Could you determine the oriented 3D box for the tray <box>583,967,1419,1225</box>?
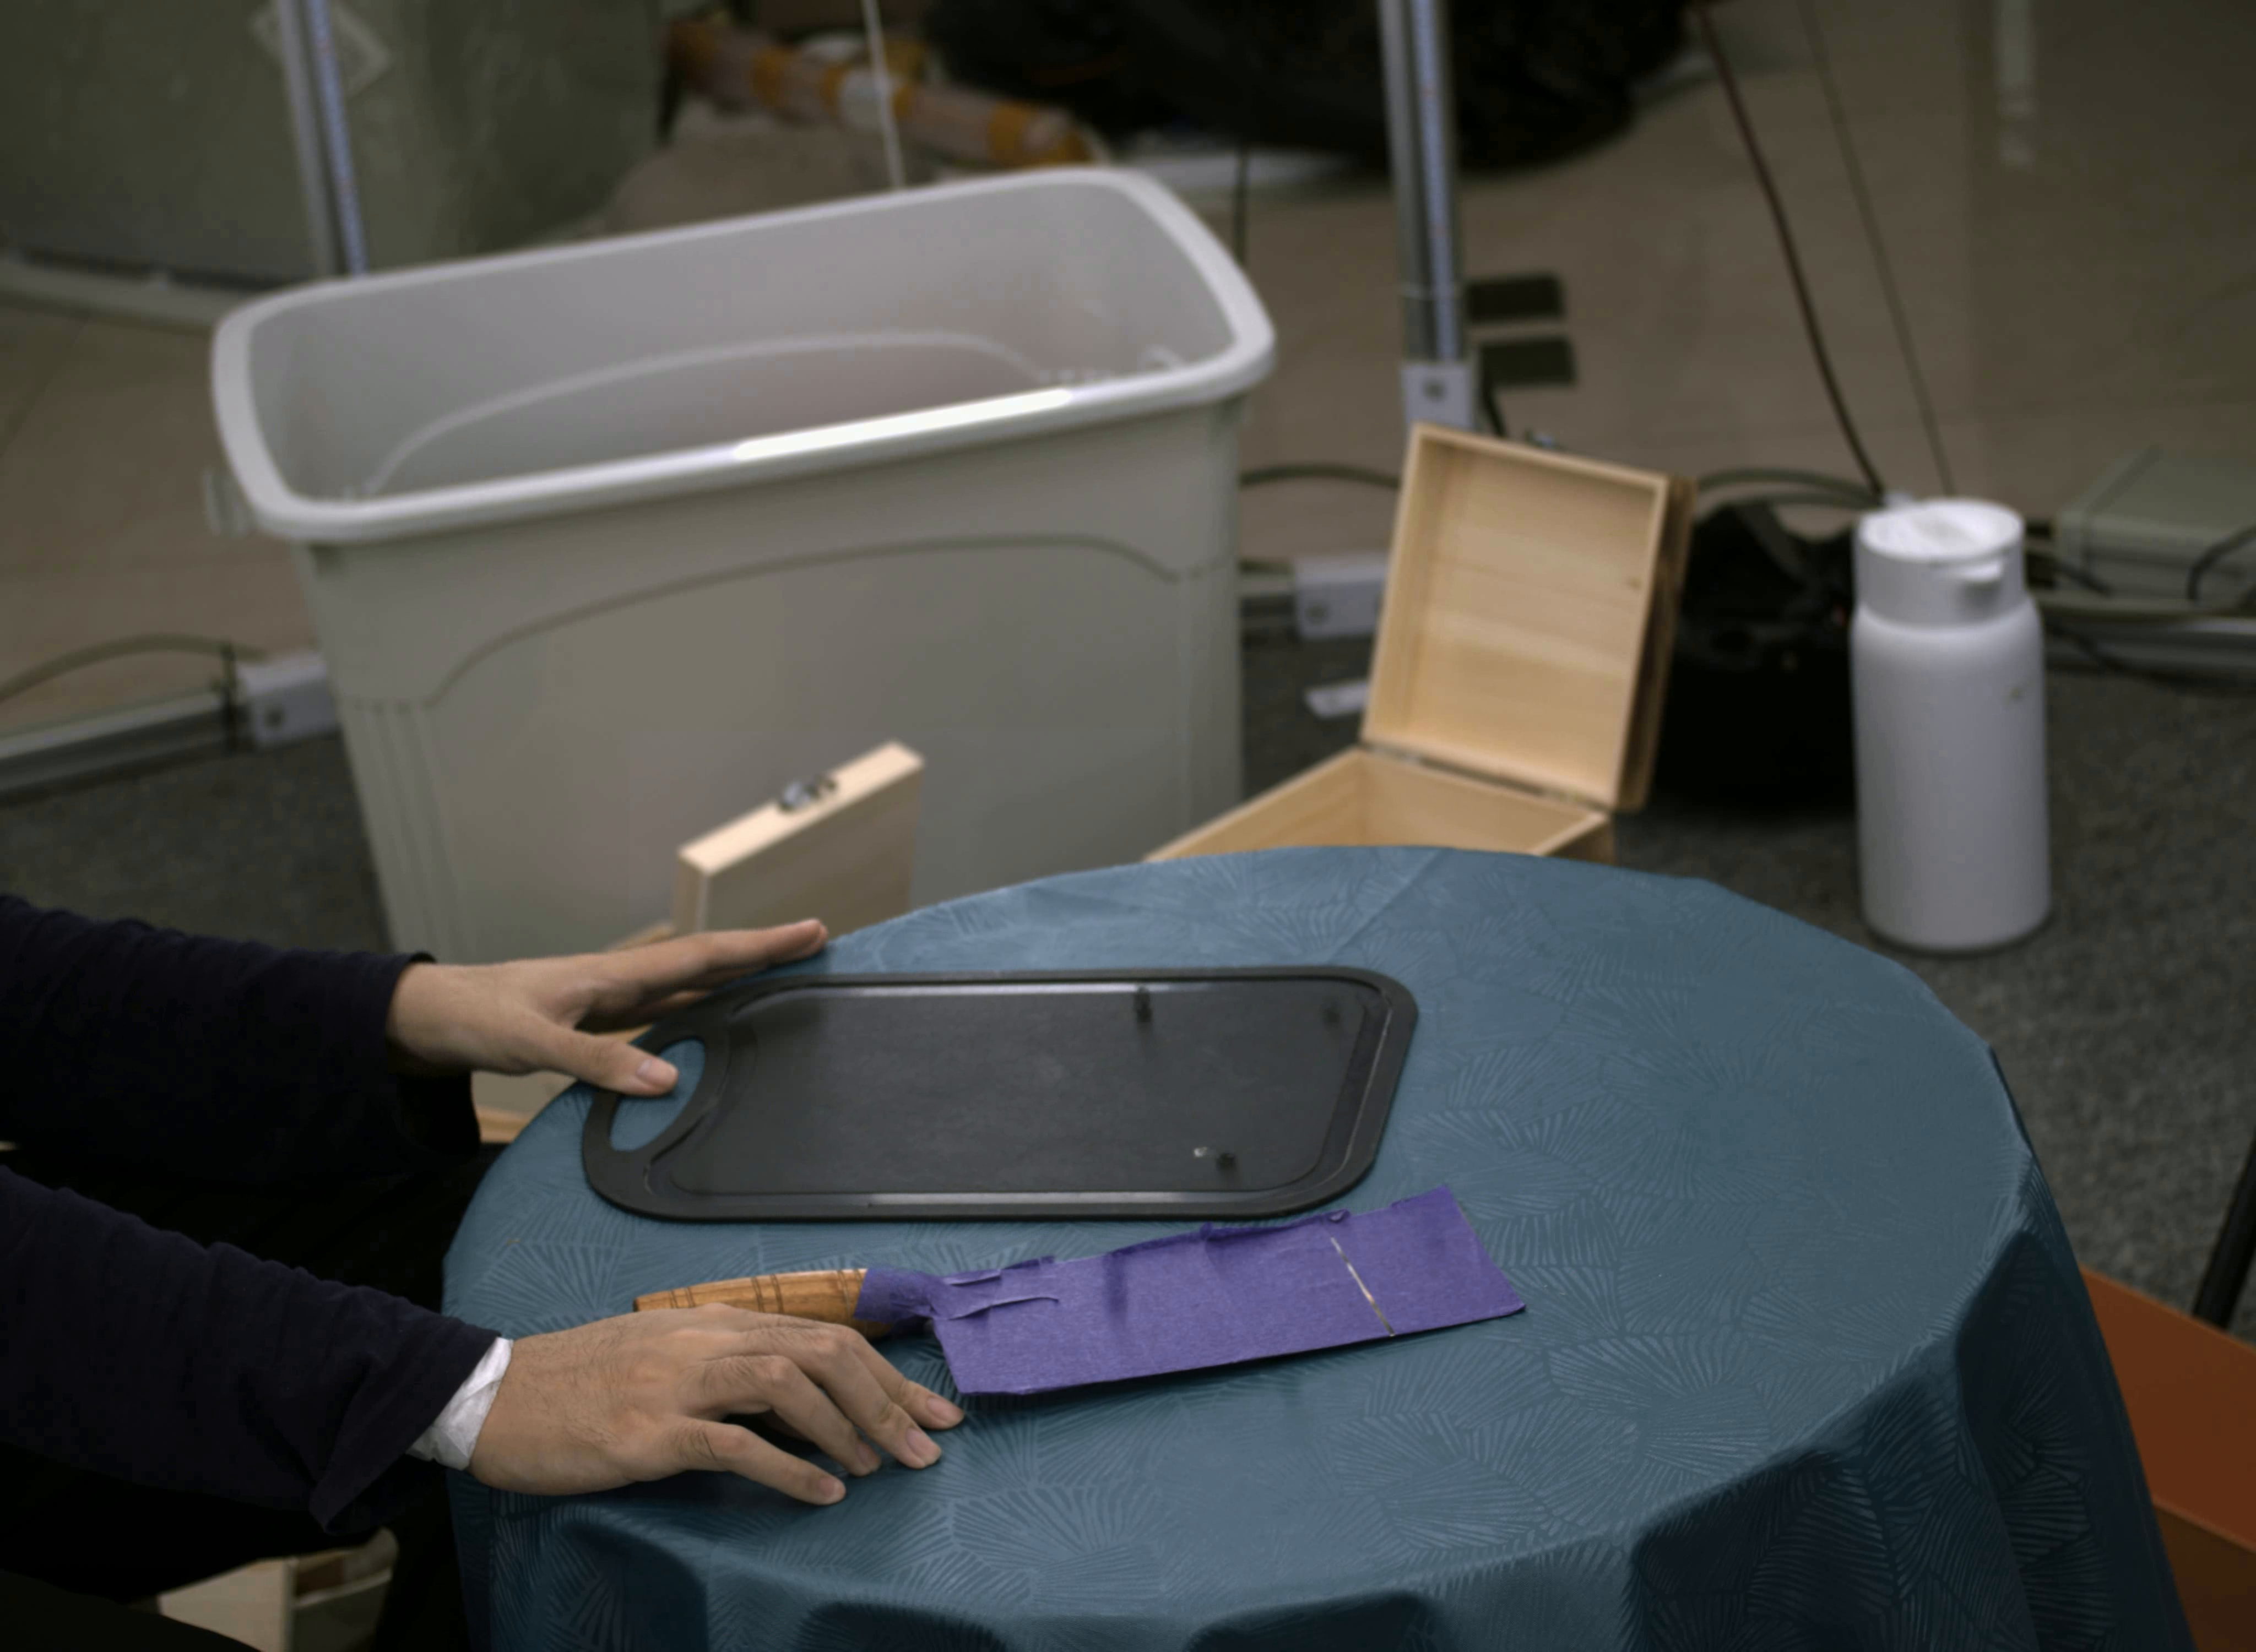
[{"bbox_3d":[-0.054,0.103,2.235,0.325,0.010,0.208,-1,25,12],"label":"tray"}]

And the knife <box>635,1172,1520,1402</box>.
[{"bbox_3d":[-0.018,0.173,2.050,0.314,0.033,0.102,-10,25,-10],"label":"knife"}]
